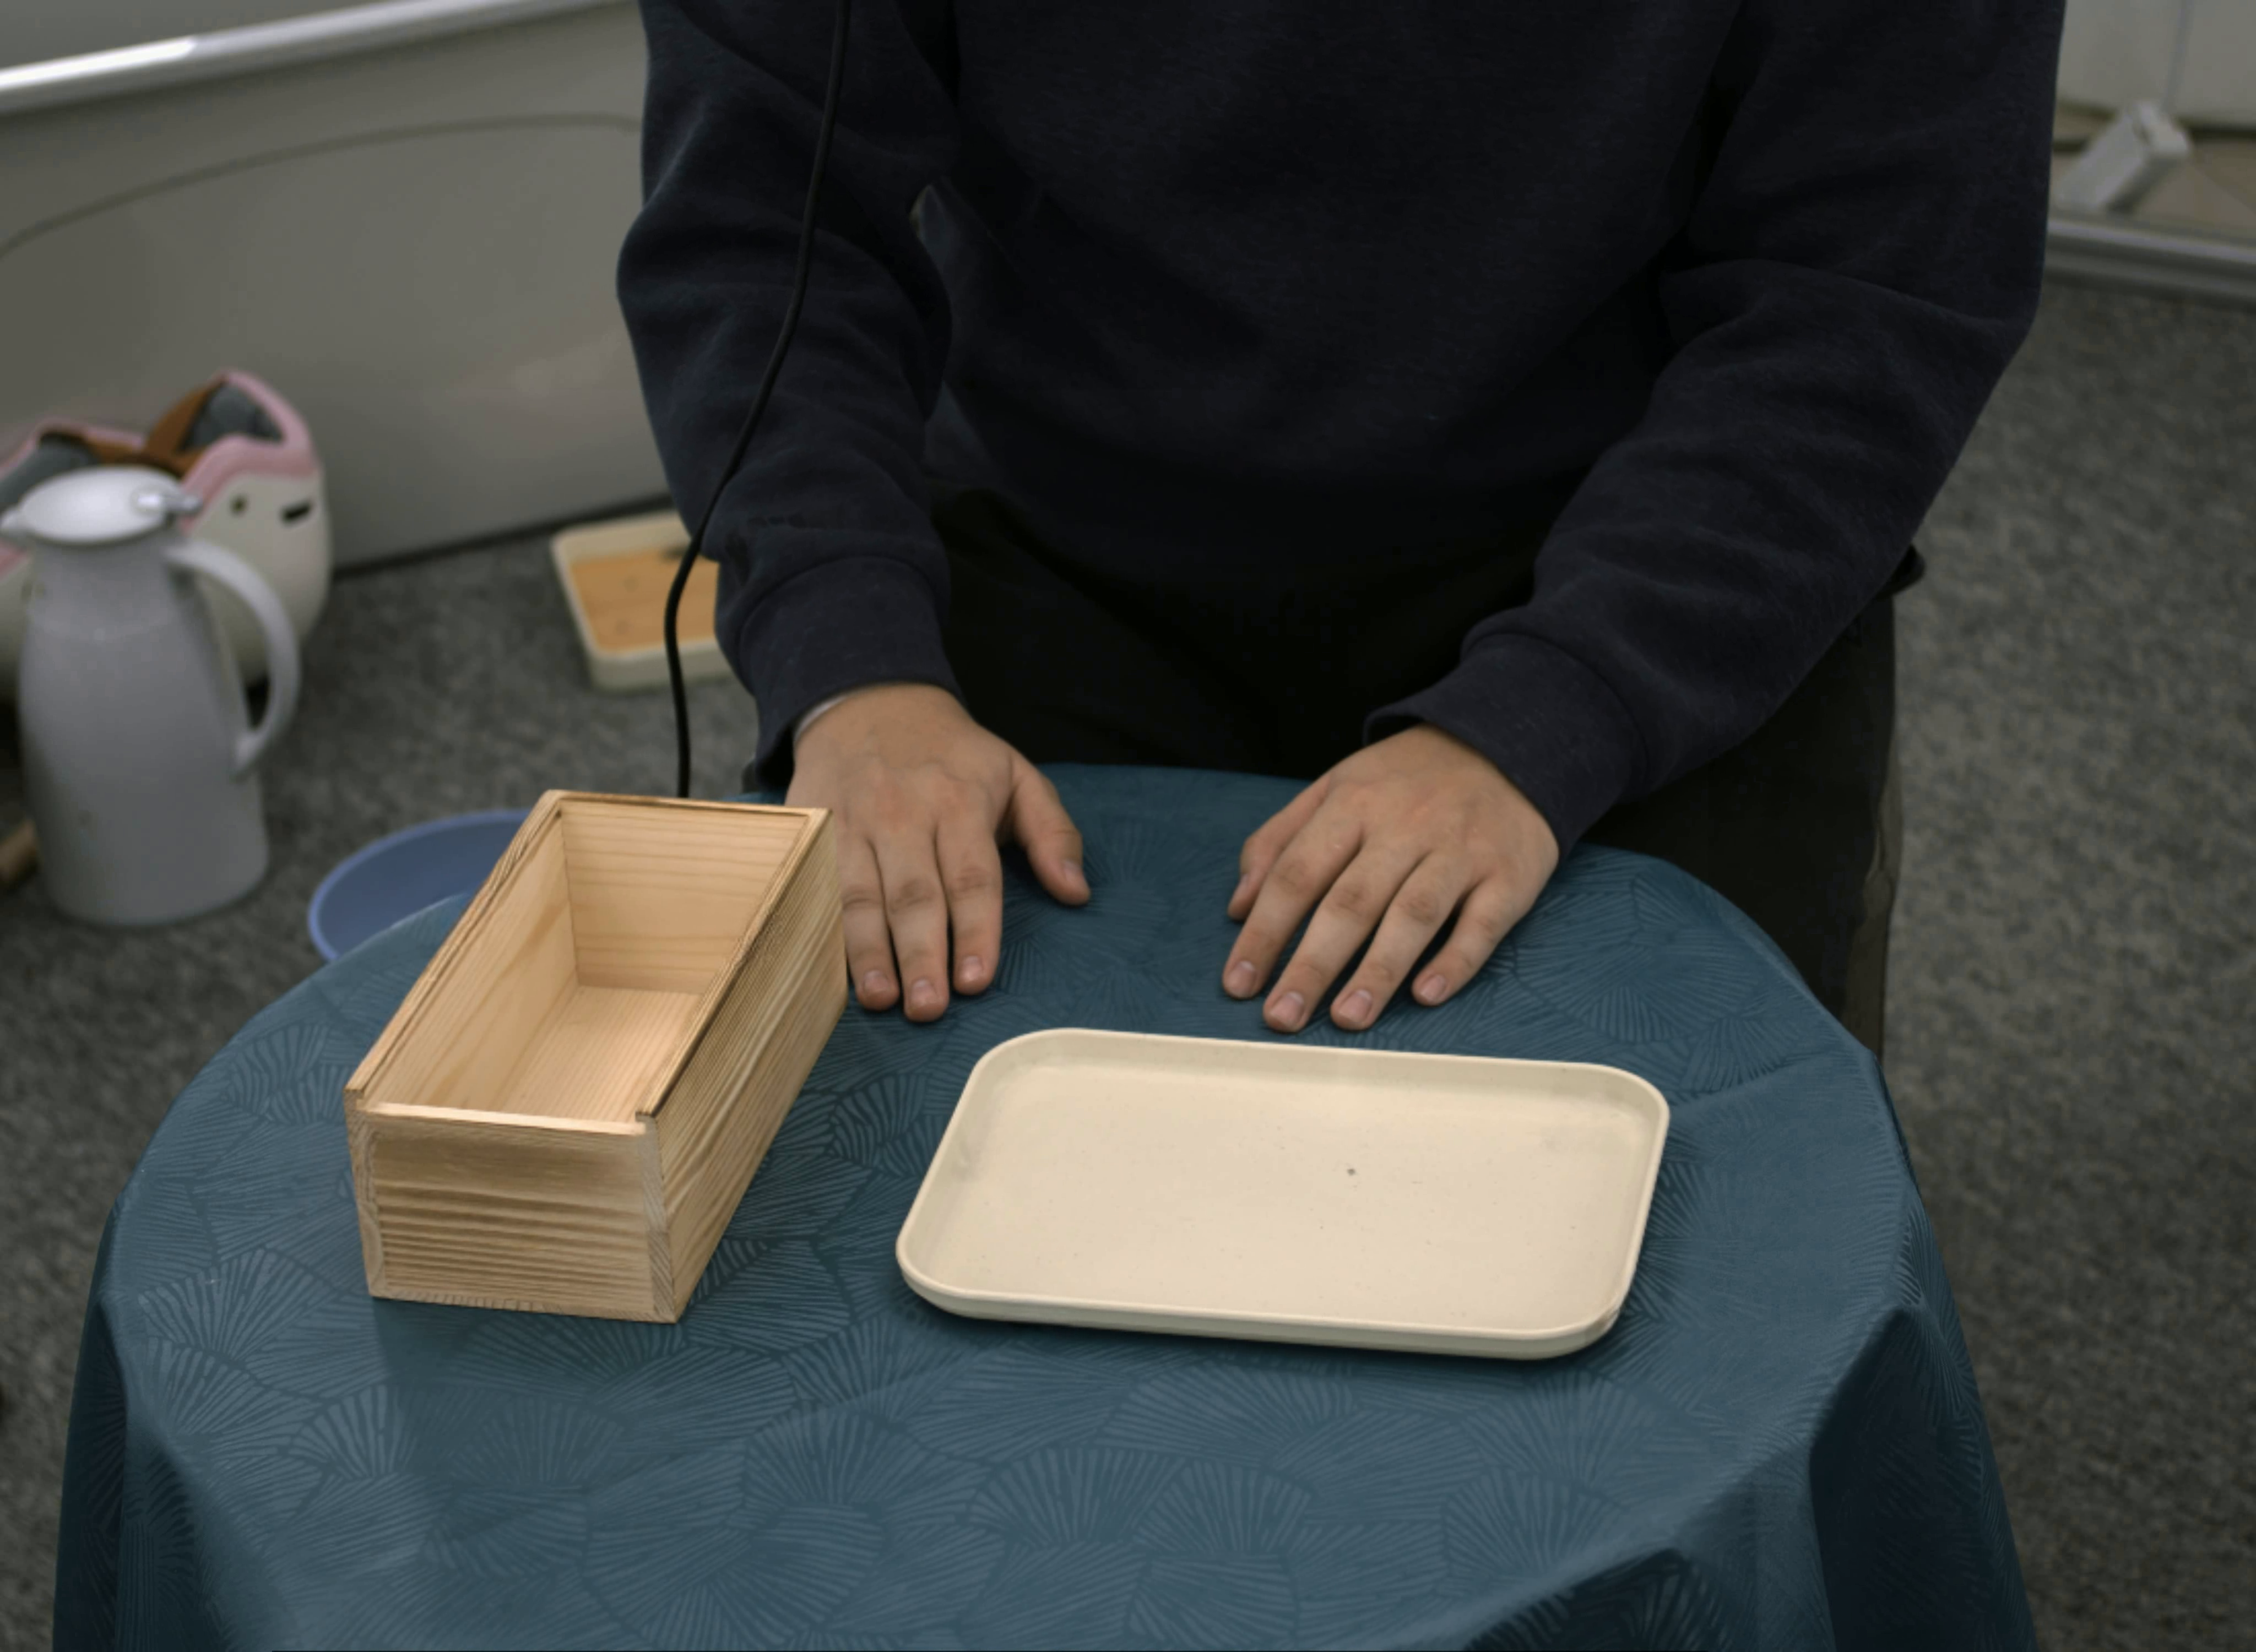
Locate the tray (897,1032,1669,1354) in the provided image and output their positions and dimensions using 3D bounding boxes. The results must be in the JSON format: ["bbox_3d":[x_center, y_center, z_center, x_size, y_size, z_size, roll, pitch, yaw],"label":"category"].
[{"bbox_3d":[0.053,0.121,1.843,0.238,0.017,0.174,3,27,11],"label":"tray"}]

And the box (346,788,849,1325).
[{"bbox_3d":[-0.174,0.074,1.887,0.107,0.079,0.215,4,28,12],"label":"box"}]
